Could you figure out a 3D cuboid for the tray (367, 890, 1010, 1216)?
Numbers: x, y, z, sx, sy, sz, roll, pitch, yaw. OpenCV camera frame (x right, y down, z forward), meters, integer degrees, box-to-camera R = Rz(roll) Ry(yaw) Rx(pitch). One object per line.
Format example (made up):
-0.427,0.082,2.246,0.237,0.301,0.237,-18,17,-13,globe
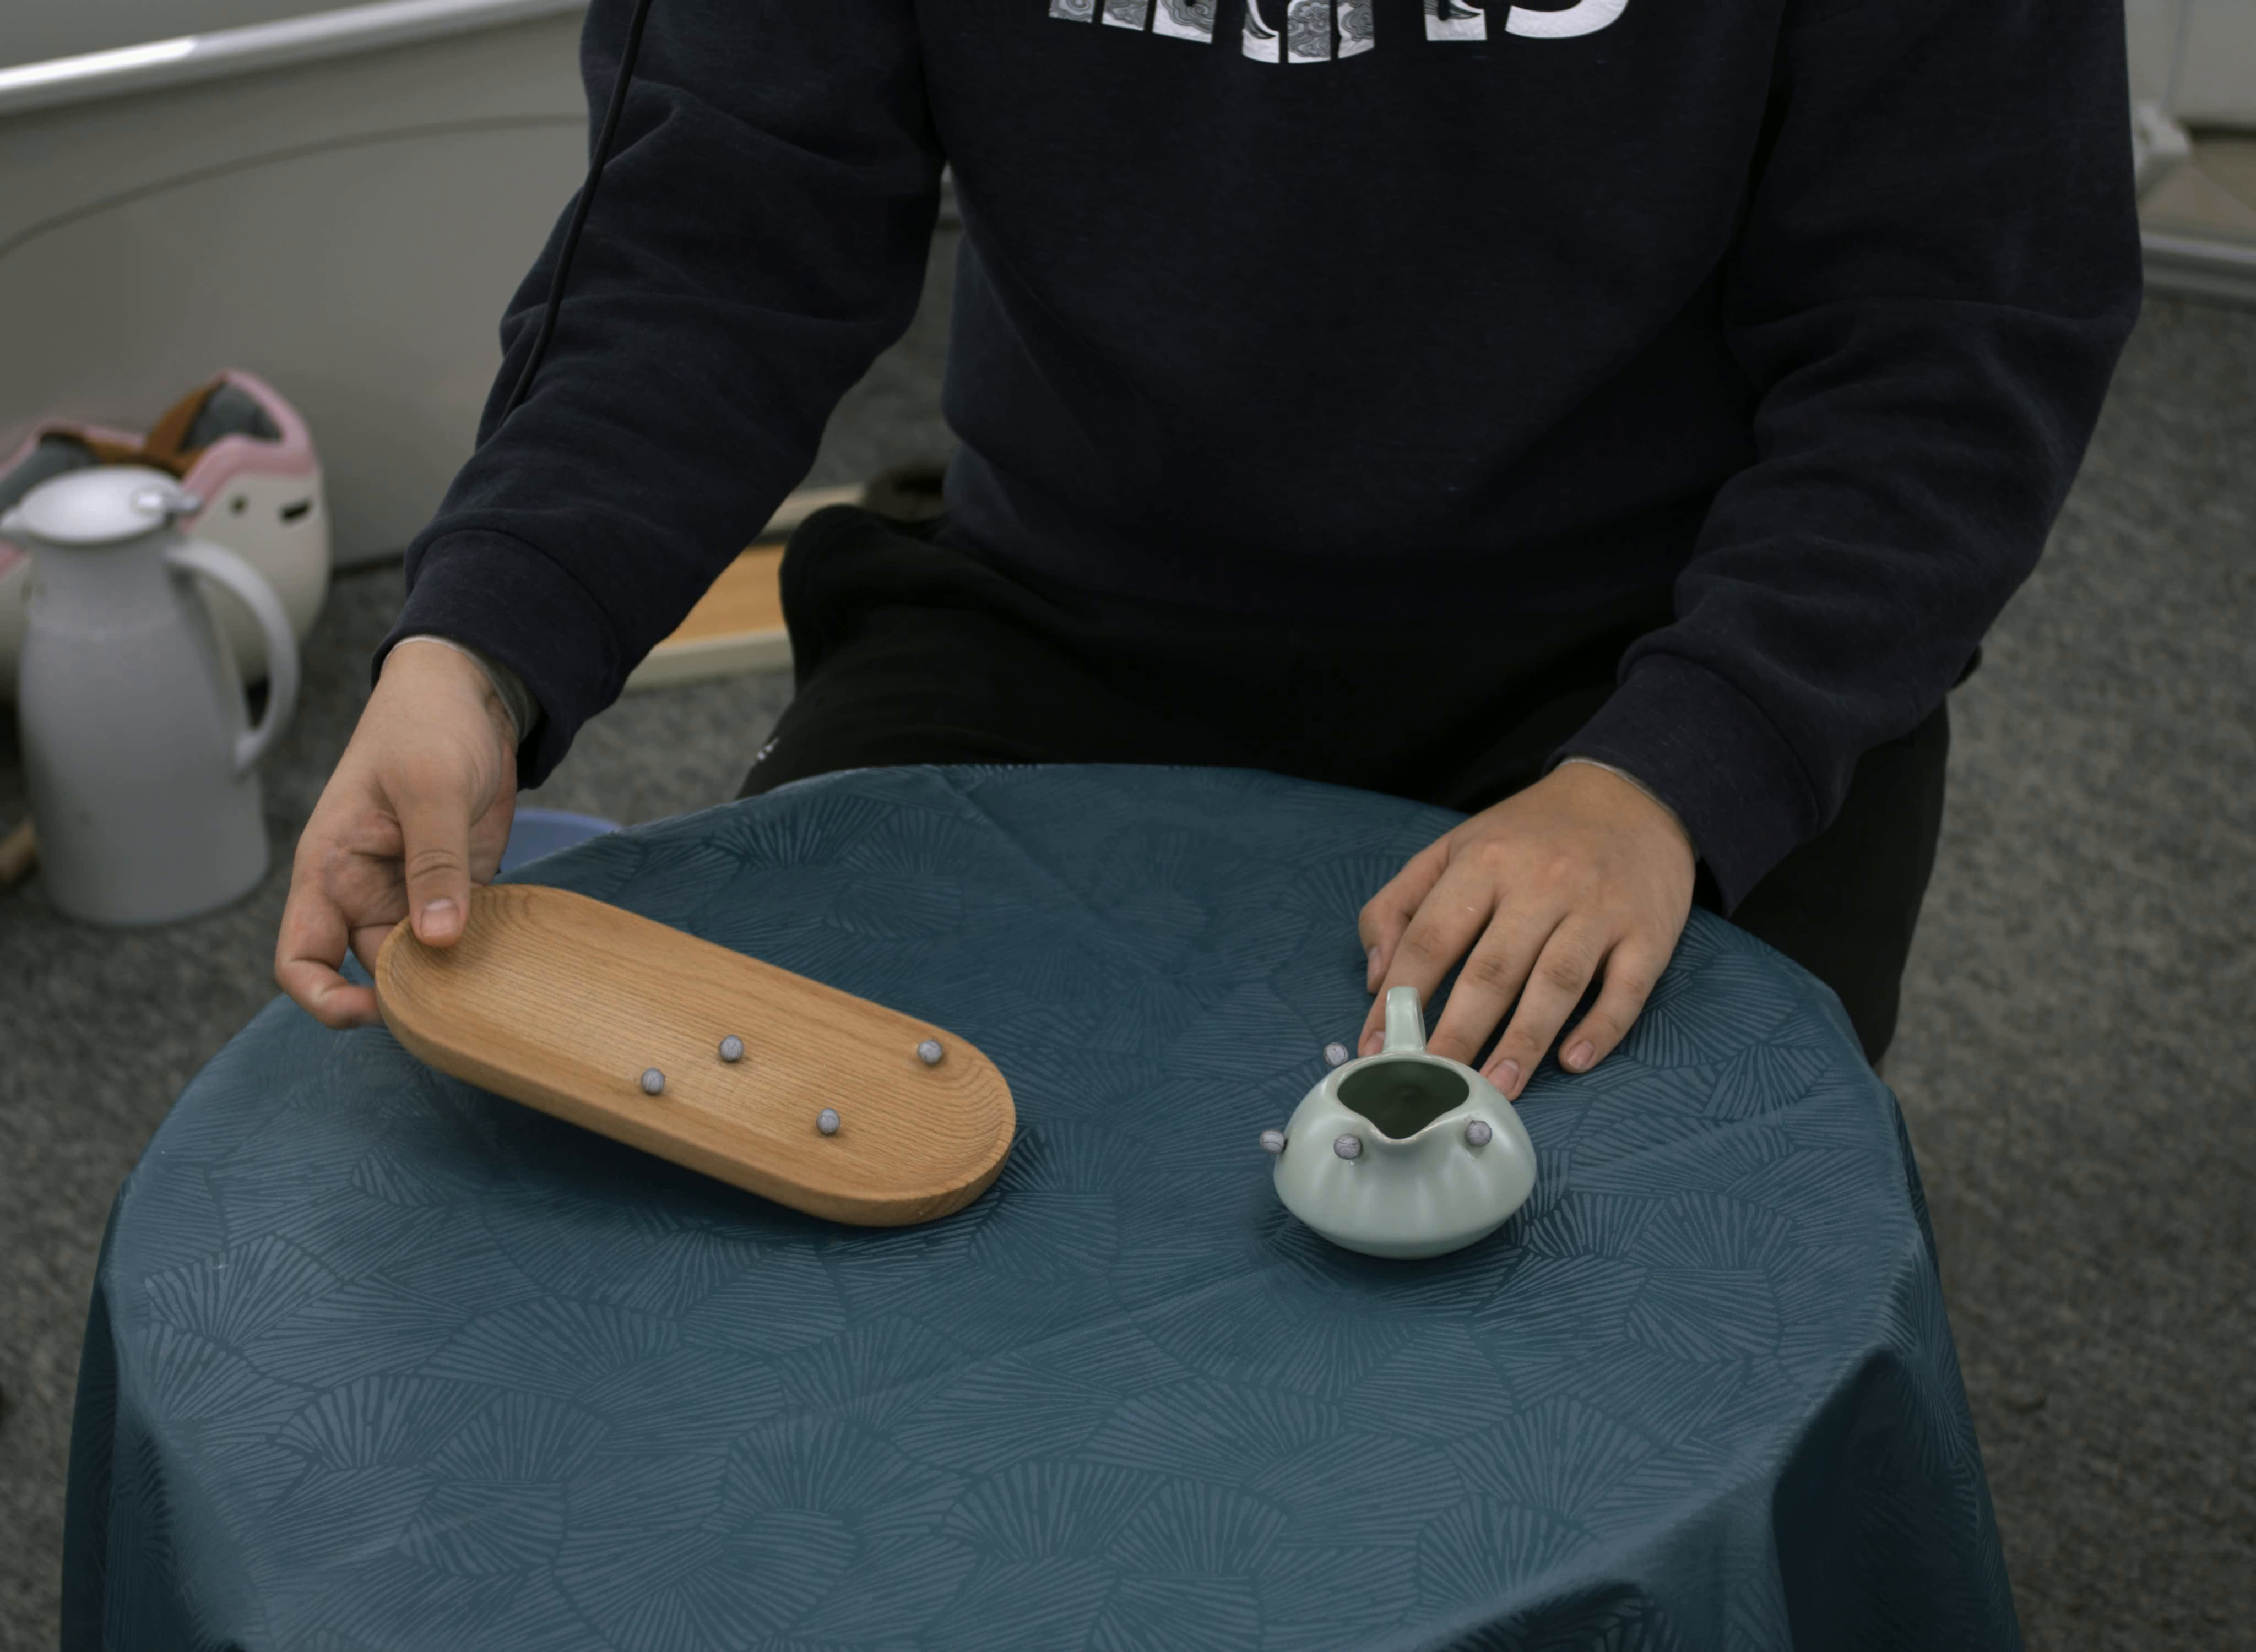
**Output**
-0.149,0.077,1.898,0.230,0.020,0.103,18,31,15,tray

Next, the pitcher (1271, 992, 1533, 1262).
0.089,0.100,1.839,0.085,0.060,0.109,-1,25,2,pitcher
